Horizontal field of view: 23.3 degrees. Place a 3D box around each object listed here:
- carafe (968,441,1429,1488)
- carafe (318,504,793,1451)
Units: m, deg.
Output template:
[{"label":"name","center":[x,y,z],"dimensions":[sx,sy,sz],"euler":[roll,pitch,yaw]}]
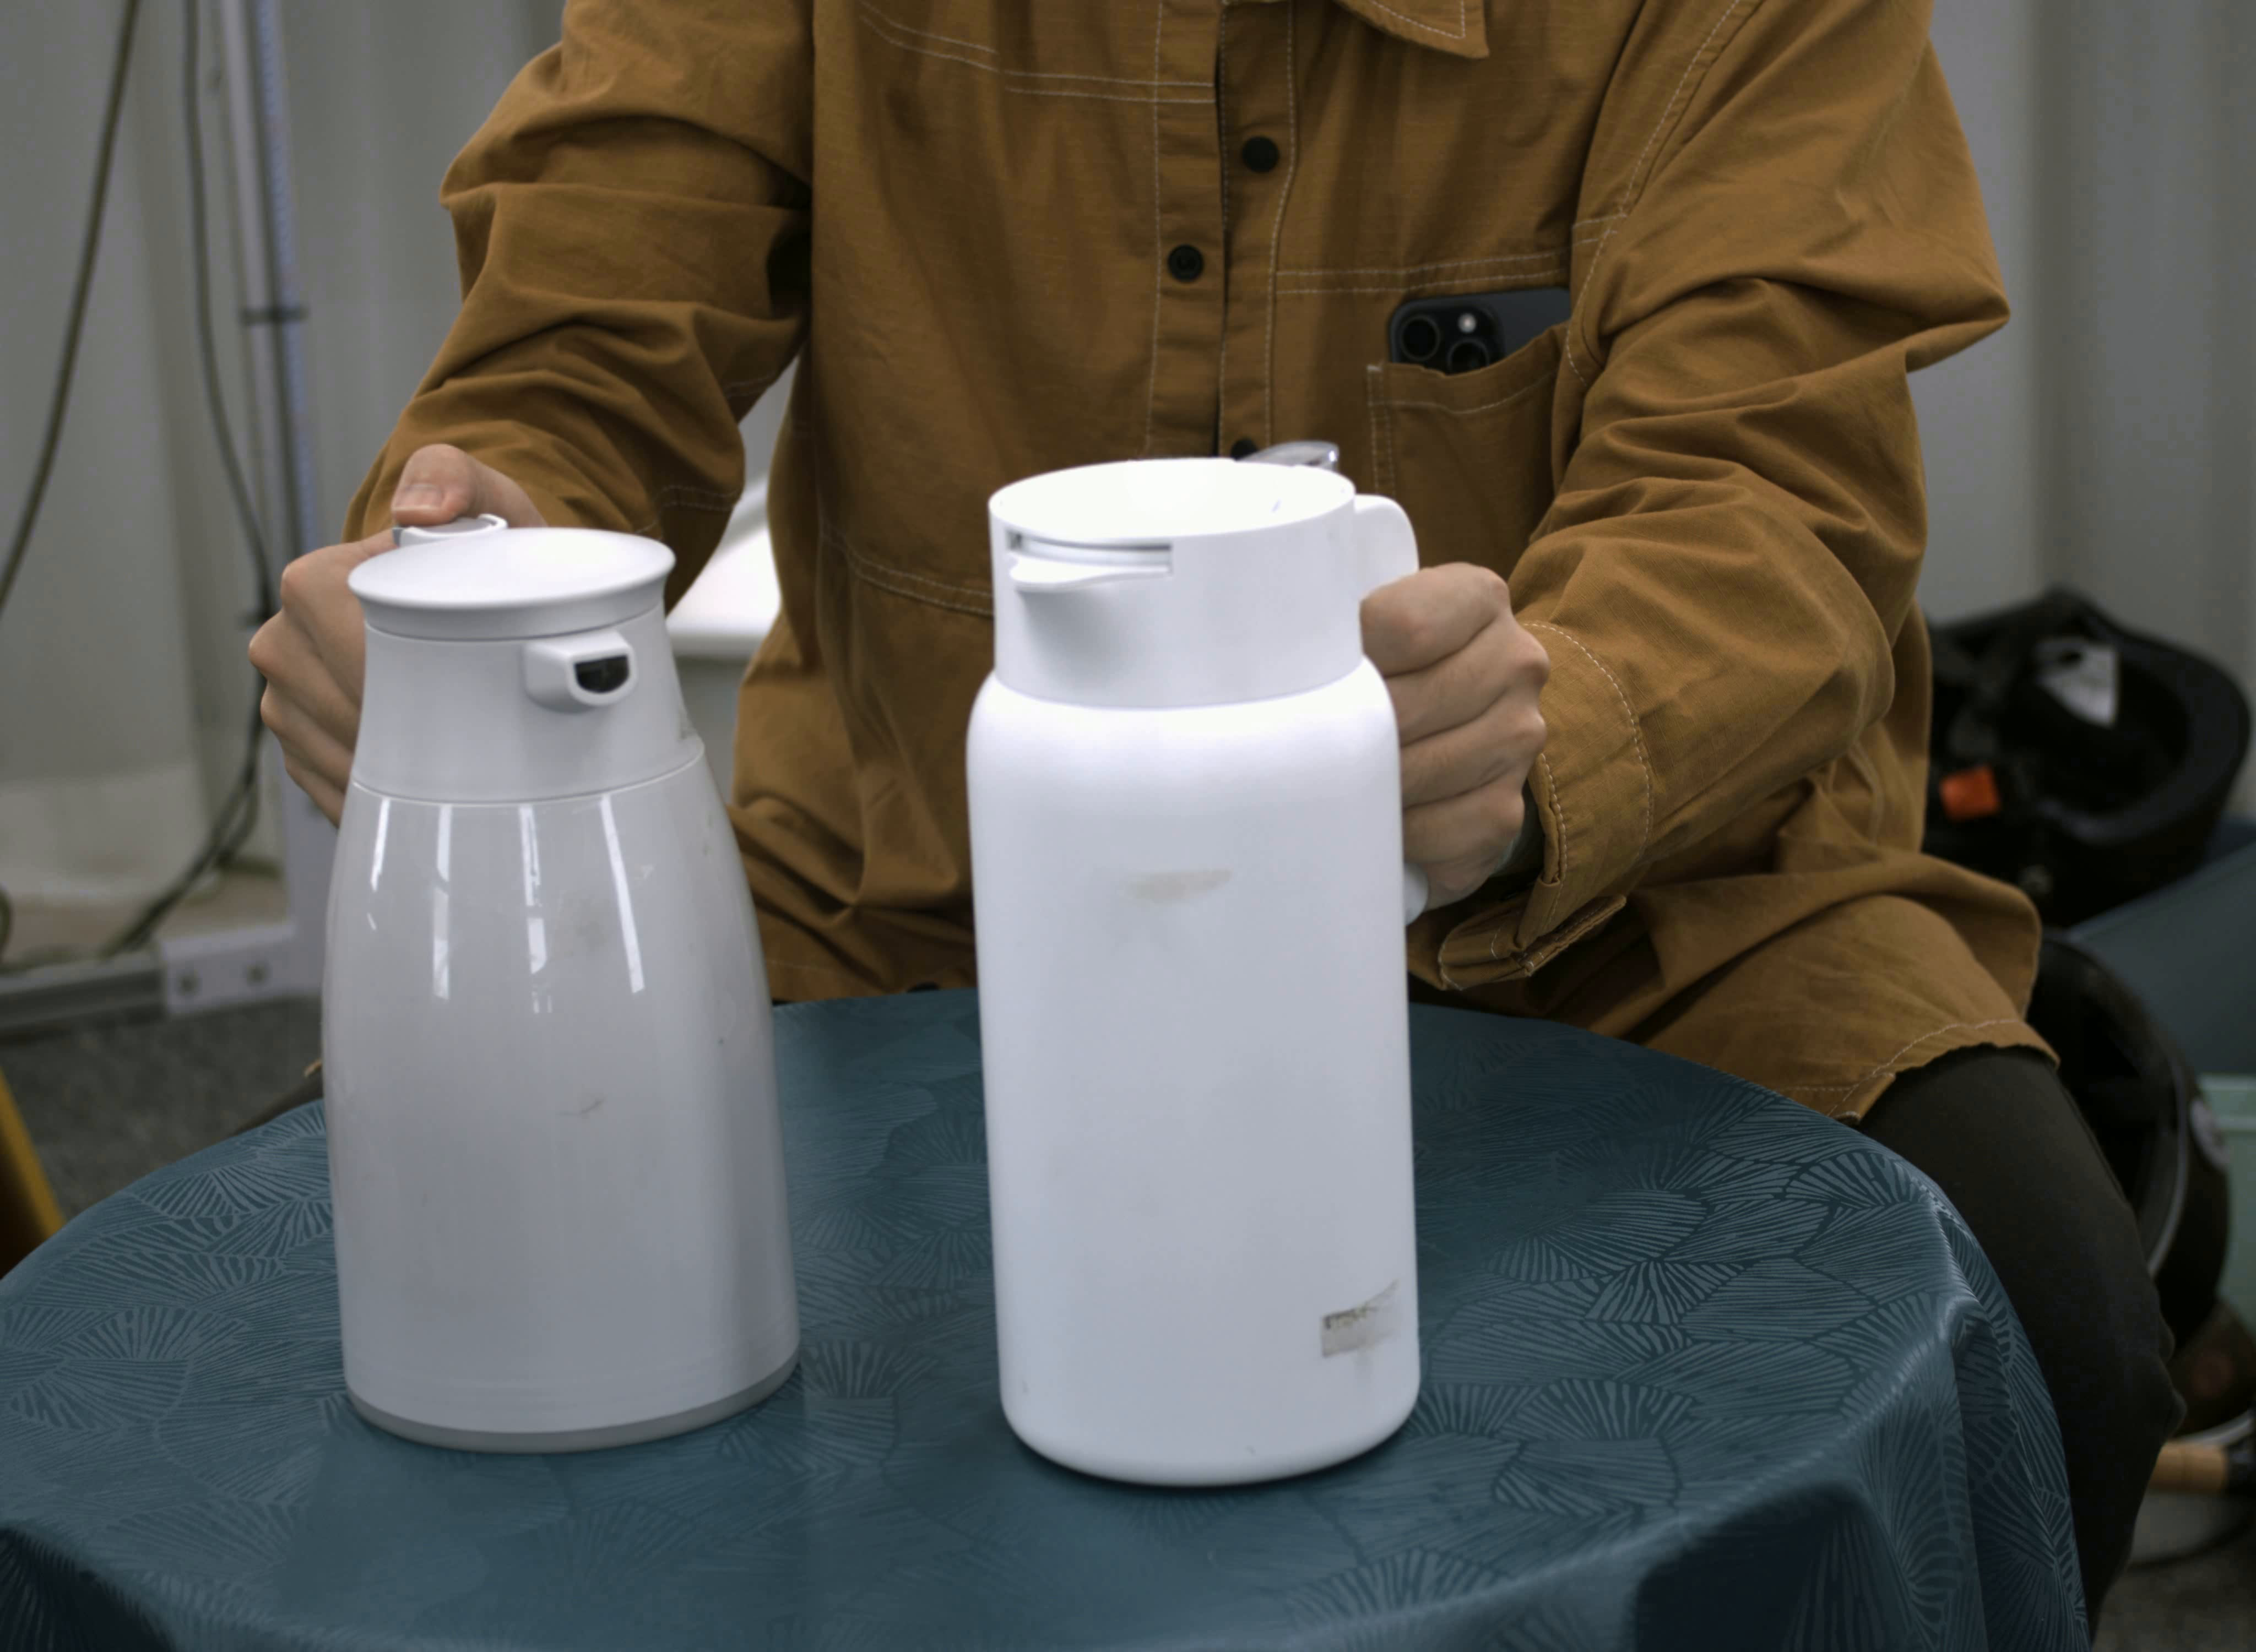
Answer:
[{"label":"carafe","center":[0.026,0.033,1.501],"dimensions":[0.124,0.268,0.173],"euler":[4,15,33]},{"label":"carafe","center":[-0.177,0.034,1.569],"dimensions":[0.132,0.248,0.169],"euler":[-10,15,-28]}]
